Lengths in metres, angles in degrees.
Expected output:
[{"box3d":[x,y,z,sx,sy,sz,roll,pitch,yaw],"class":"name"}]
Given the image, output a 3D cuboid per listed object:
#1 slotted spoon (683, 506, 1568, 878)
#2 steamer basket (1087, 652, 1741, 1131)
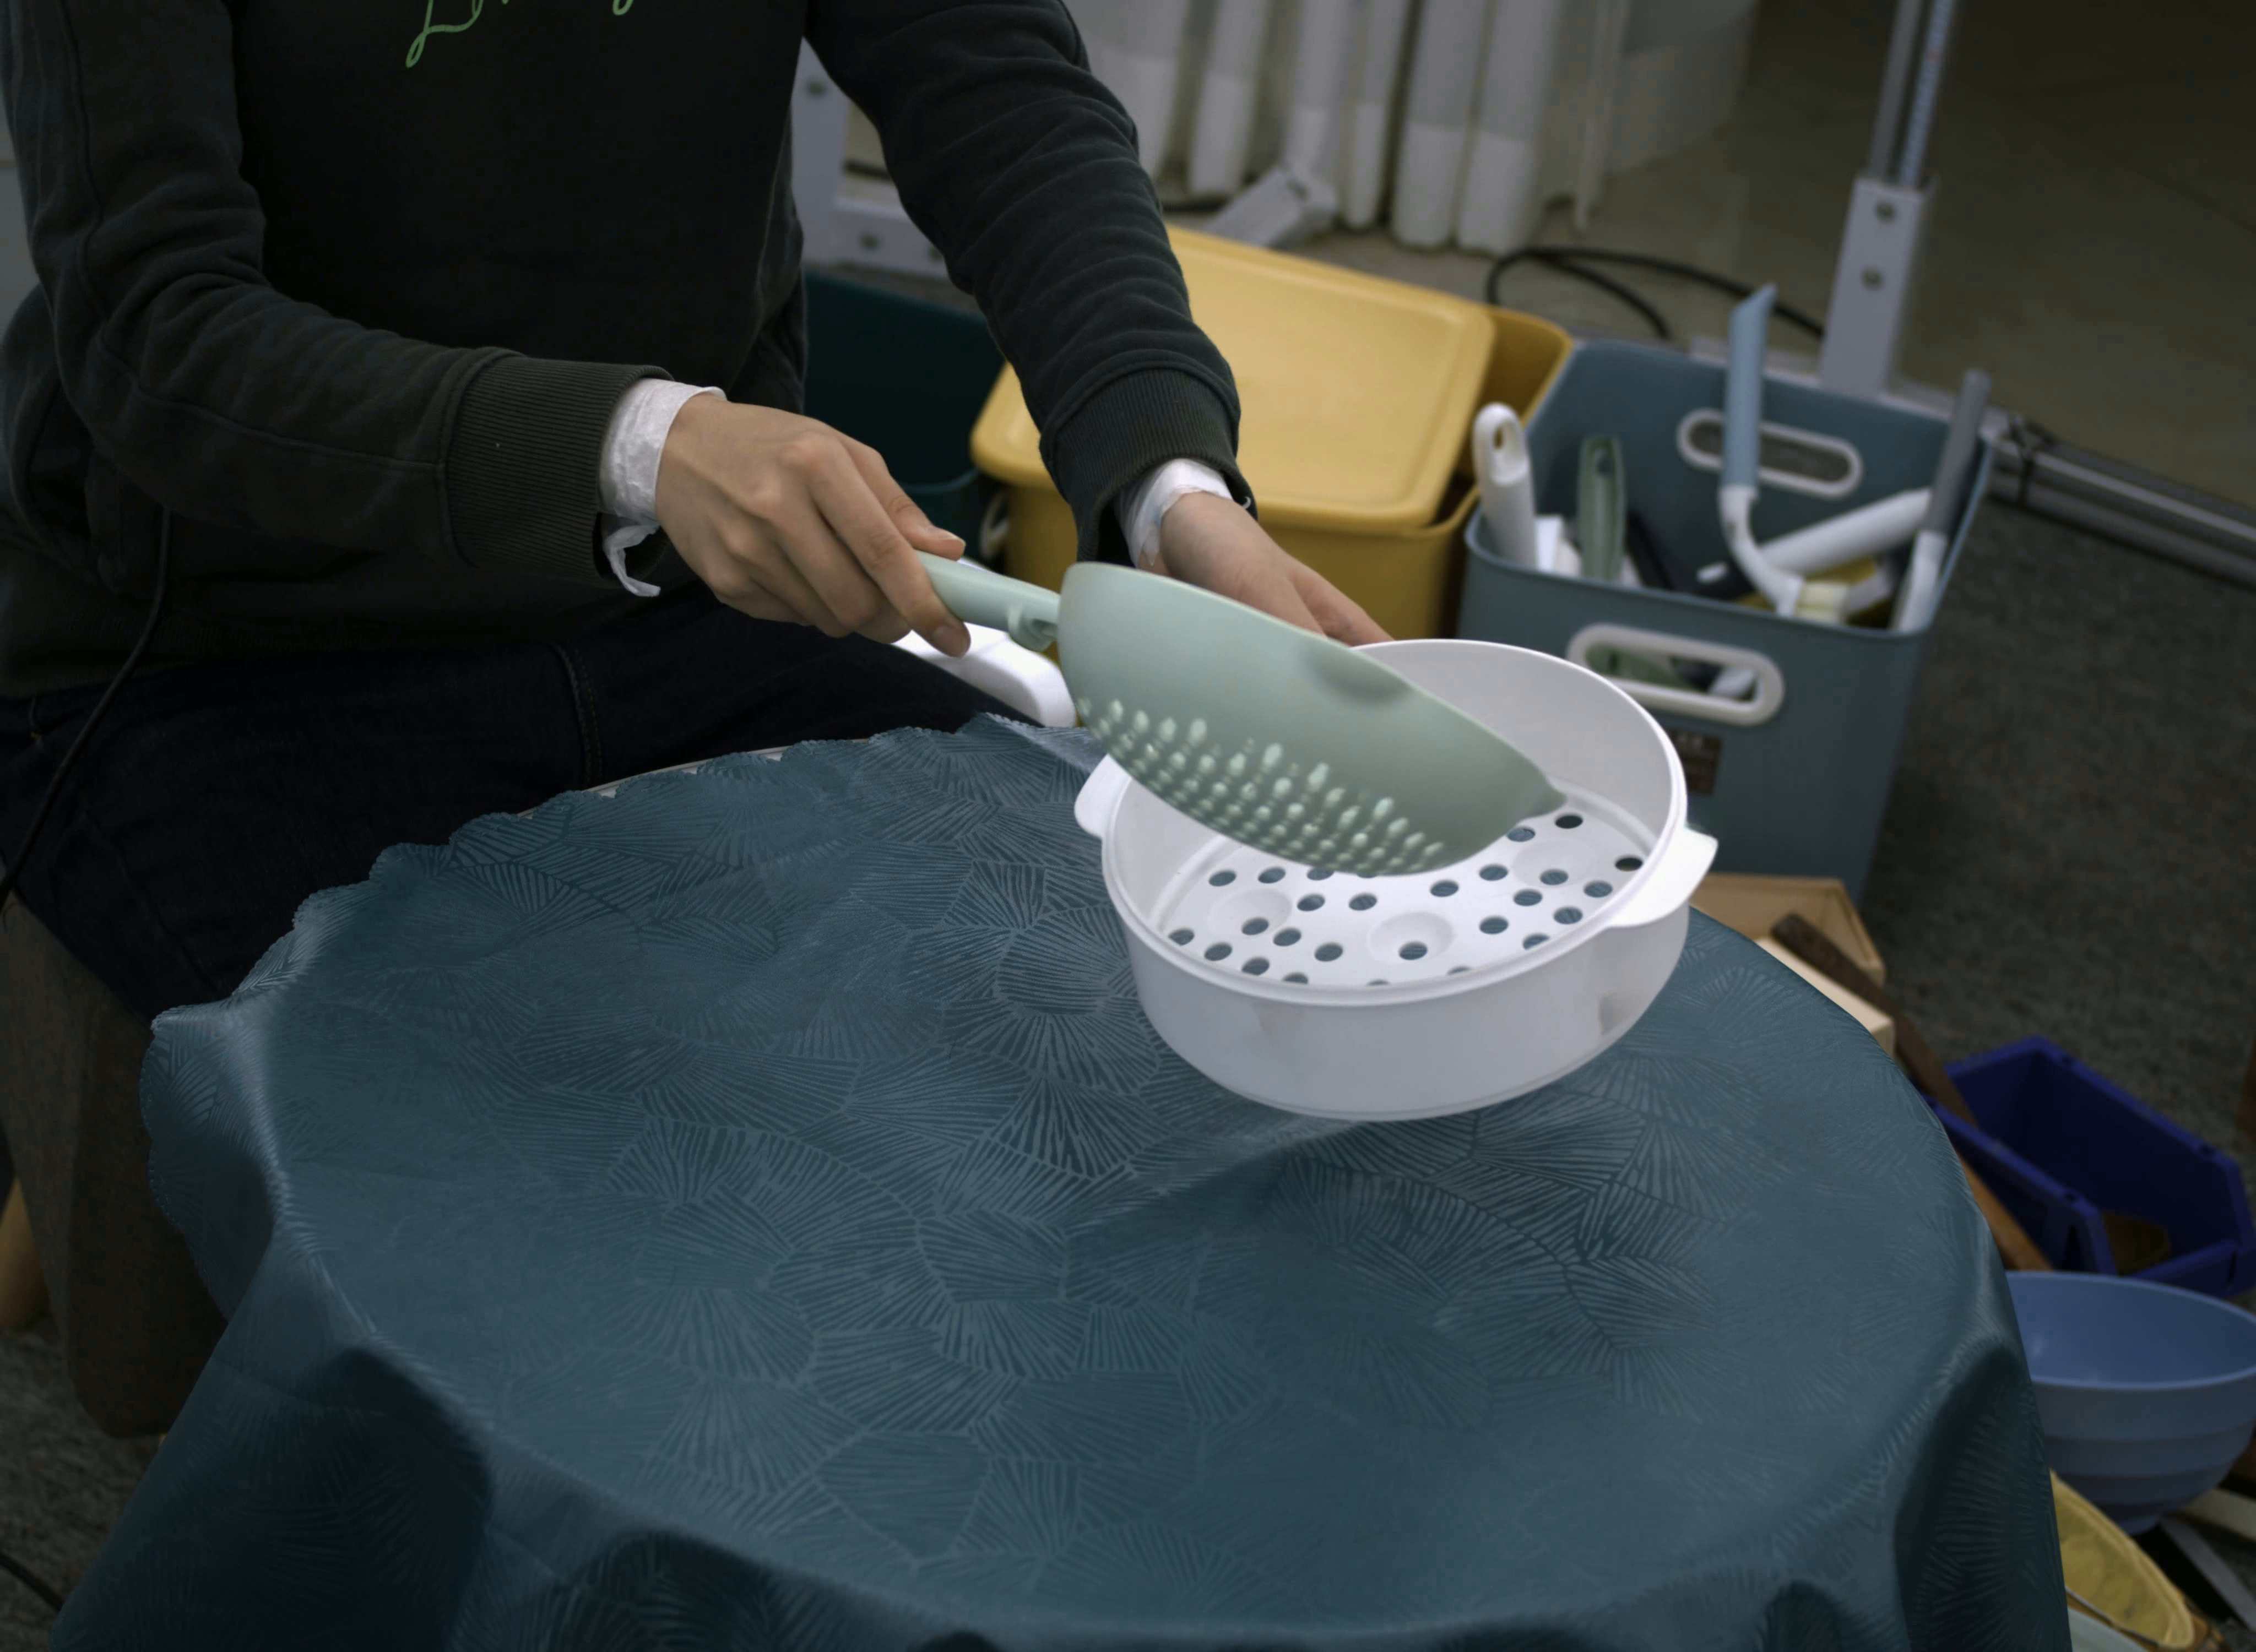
[{"box3d":[-0.019,-0.061,1.769,0.362,0.075,0.168,29,-3,41],"class":"slotted spoon"},{"box3d":[0.099,0.022,1.823,0.231,0.069,0.202,8,39,26],"class":"steamer basket"}]
